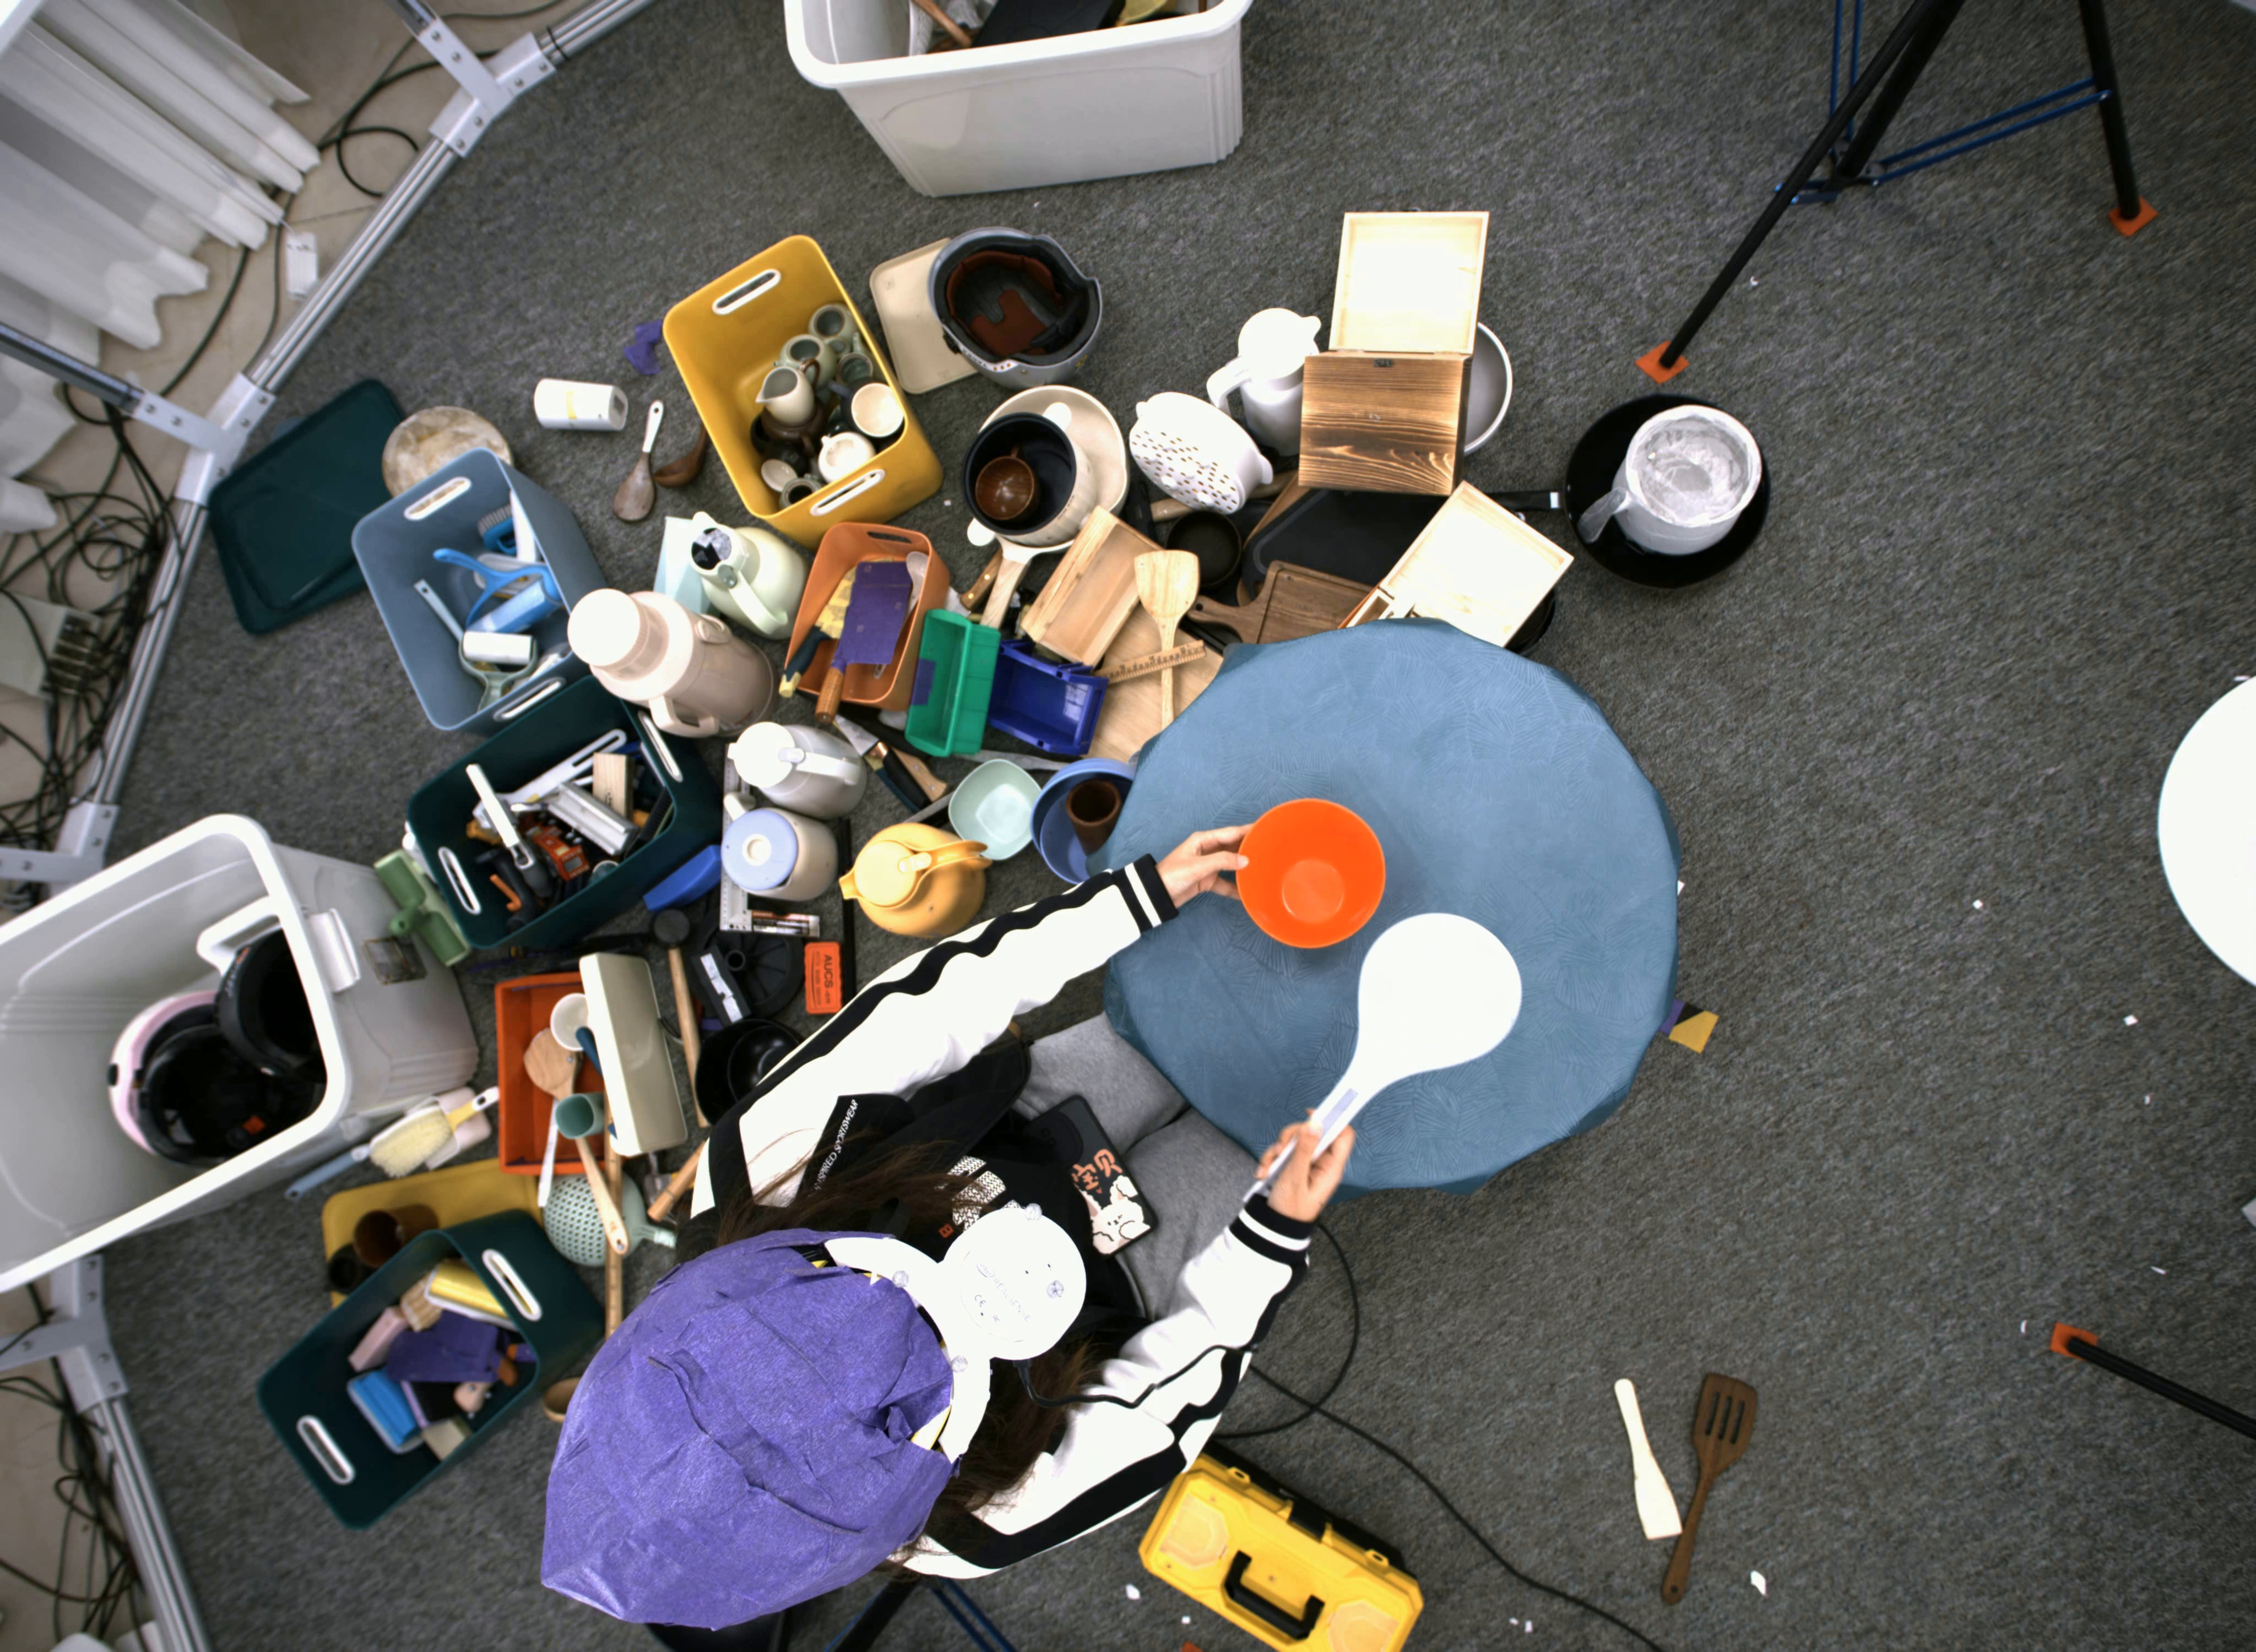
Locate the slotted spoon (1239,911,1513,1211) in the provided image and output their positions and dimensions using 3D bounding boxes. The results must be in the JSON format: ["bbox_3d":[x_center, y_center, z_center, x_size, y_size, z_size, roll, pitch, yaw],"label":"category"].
[{"bbox_3d":[0.213,0.223,1.268,0.136,0.045,0.354,35,104,-2],"label":"slotted spoon"}]

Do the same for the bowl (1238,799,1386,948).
[{"bbox_3d":[0.188,0.052,1.415,0.148,0.105,0.147,-1,85,7],"label":"bowl"}]
